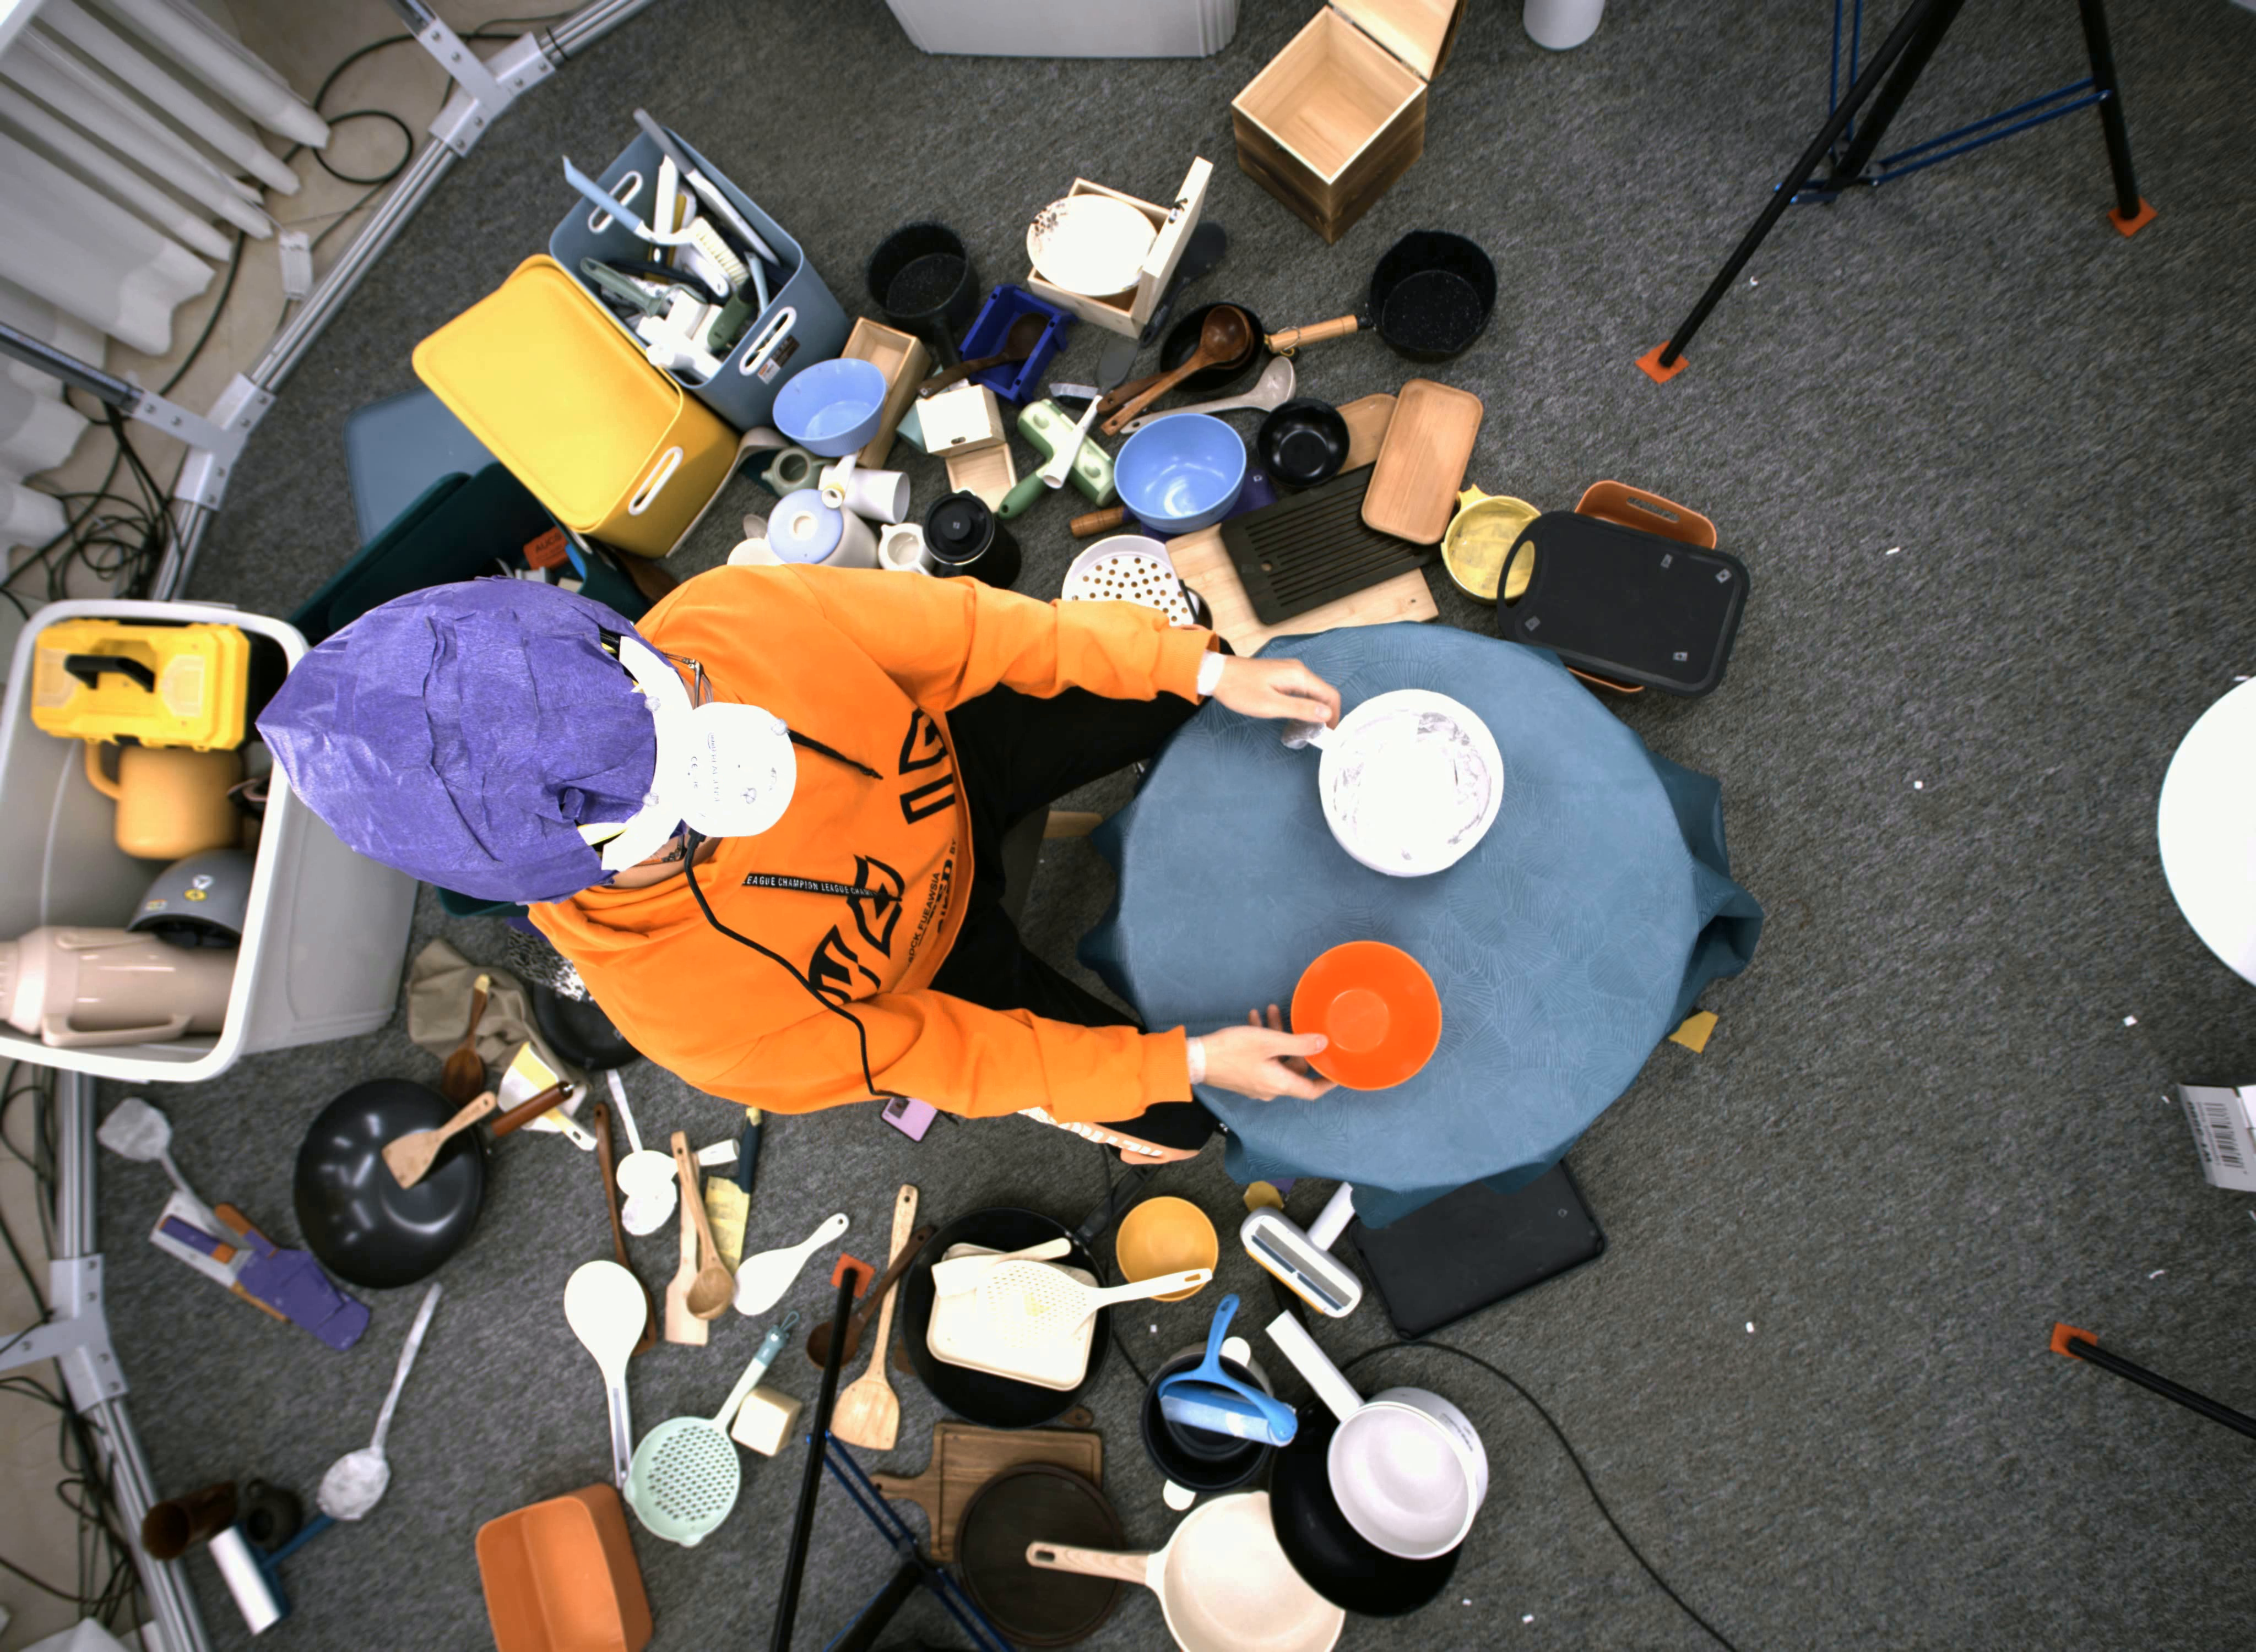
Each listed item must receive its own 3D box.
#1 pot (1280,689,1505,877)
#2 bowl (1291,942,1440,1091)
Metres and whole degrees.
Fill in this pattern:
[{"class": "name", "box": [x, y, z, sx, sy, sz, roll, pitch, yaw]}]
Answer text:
[{"class": "pot", "box": [0.260, -0.053, 1.399, 0.233, 0.137, 0.179, 28, 90, 10]}, {"class": "bowl", "box": [0.242, 0.192, 1.410, 0.148, 0.104, 0.147, -1, 87, 11]}]
